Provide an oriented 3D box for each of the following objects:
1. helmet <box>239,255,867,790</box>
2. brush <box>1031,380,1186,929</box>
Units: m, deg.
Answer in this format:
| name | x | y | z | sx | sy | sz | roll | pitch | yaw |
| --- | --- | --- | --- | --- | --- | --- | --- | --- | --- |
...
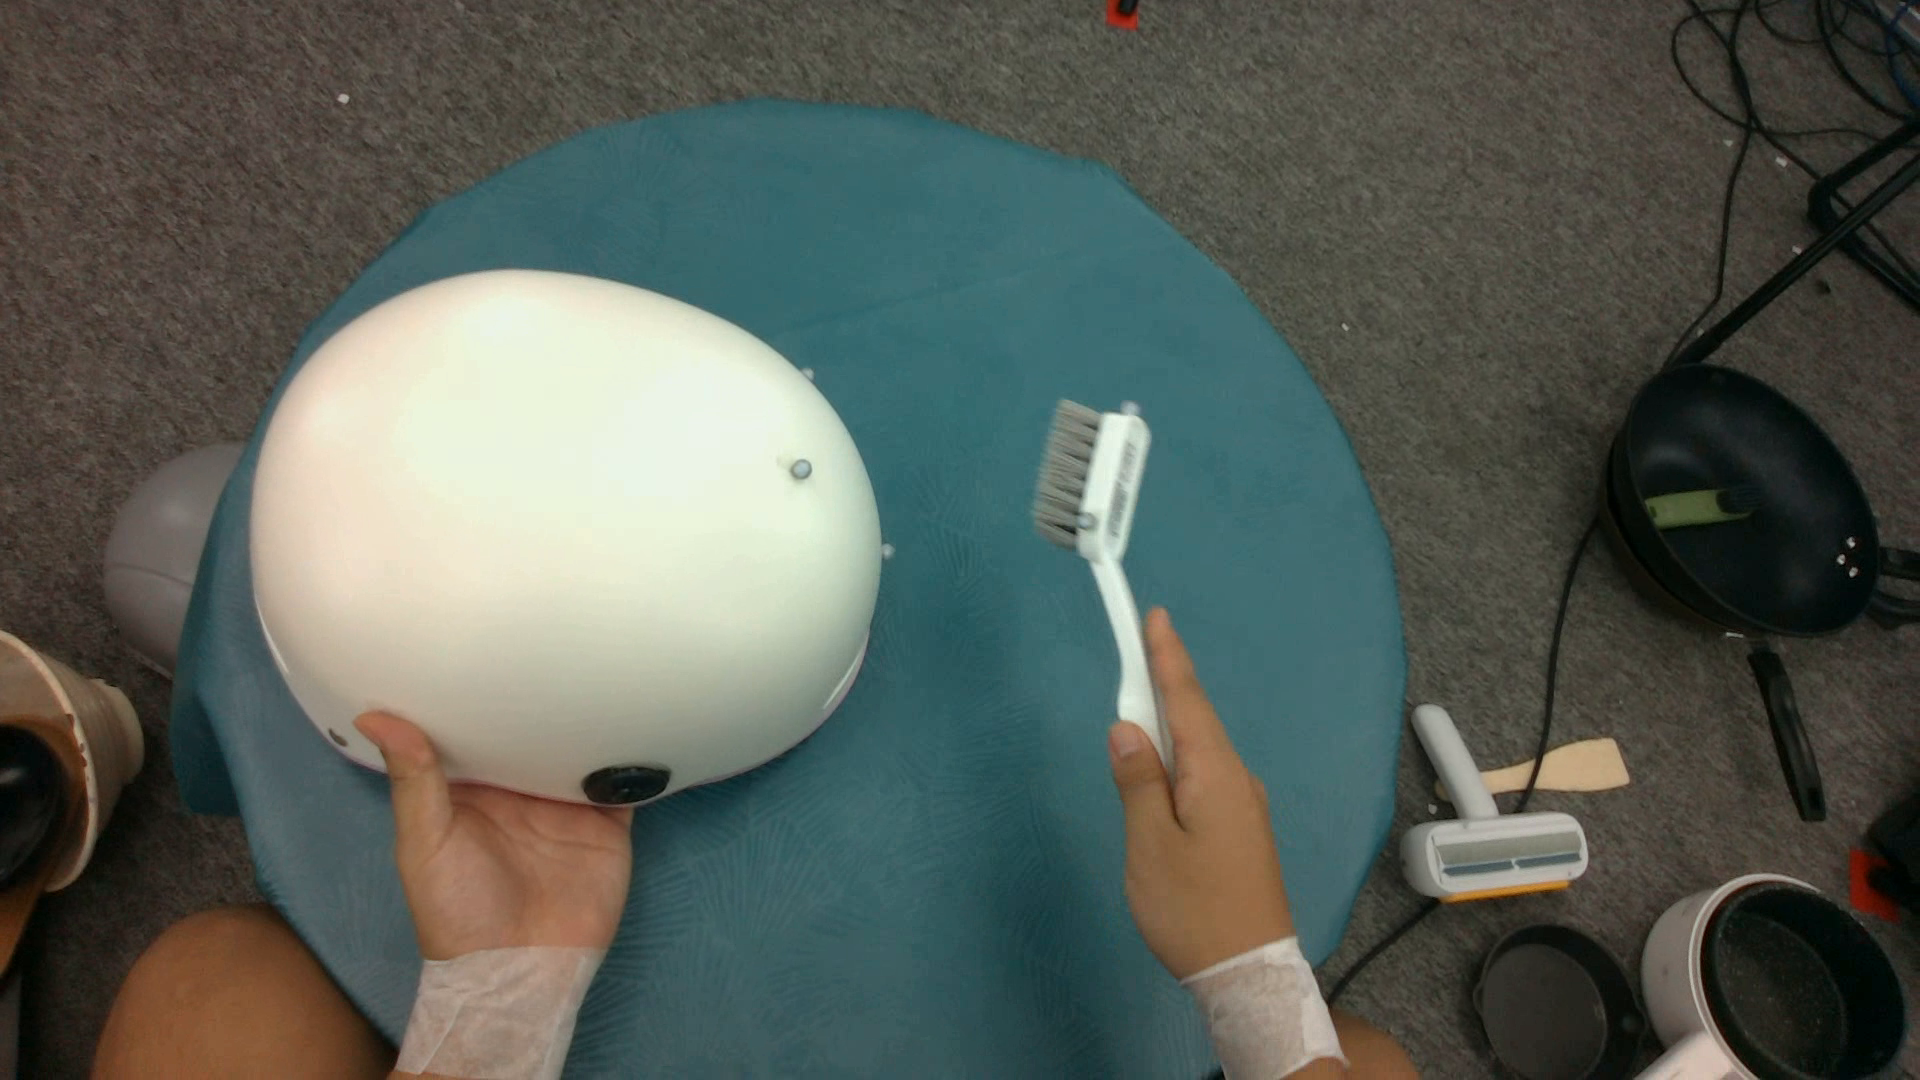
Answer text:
| name | x | y | z | sx | sy | sz | roll | pitch | yaw |
| --- | --- | --- | --- | --- | --- | --- | --- | --- | --- |
| helmet | -0.167 | -0.022 | 0.590 | 0.269 | 0.166 | 0.238 | 3 | 61 | -11 |
| brush | 0.063 | 0.046 | 0.607 | 0.050 | 0.034 | 0.244 | -10 | 76 | 23 |
